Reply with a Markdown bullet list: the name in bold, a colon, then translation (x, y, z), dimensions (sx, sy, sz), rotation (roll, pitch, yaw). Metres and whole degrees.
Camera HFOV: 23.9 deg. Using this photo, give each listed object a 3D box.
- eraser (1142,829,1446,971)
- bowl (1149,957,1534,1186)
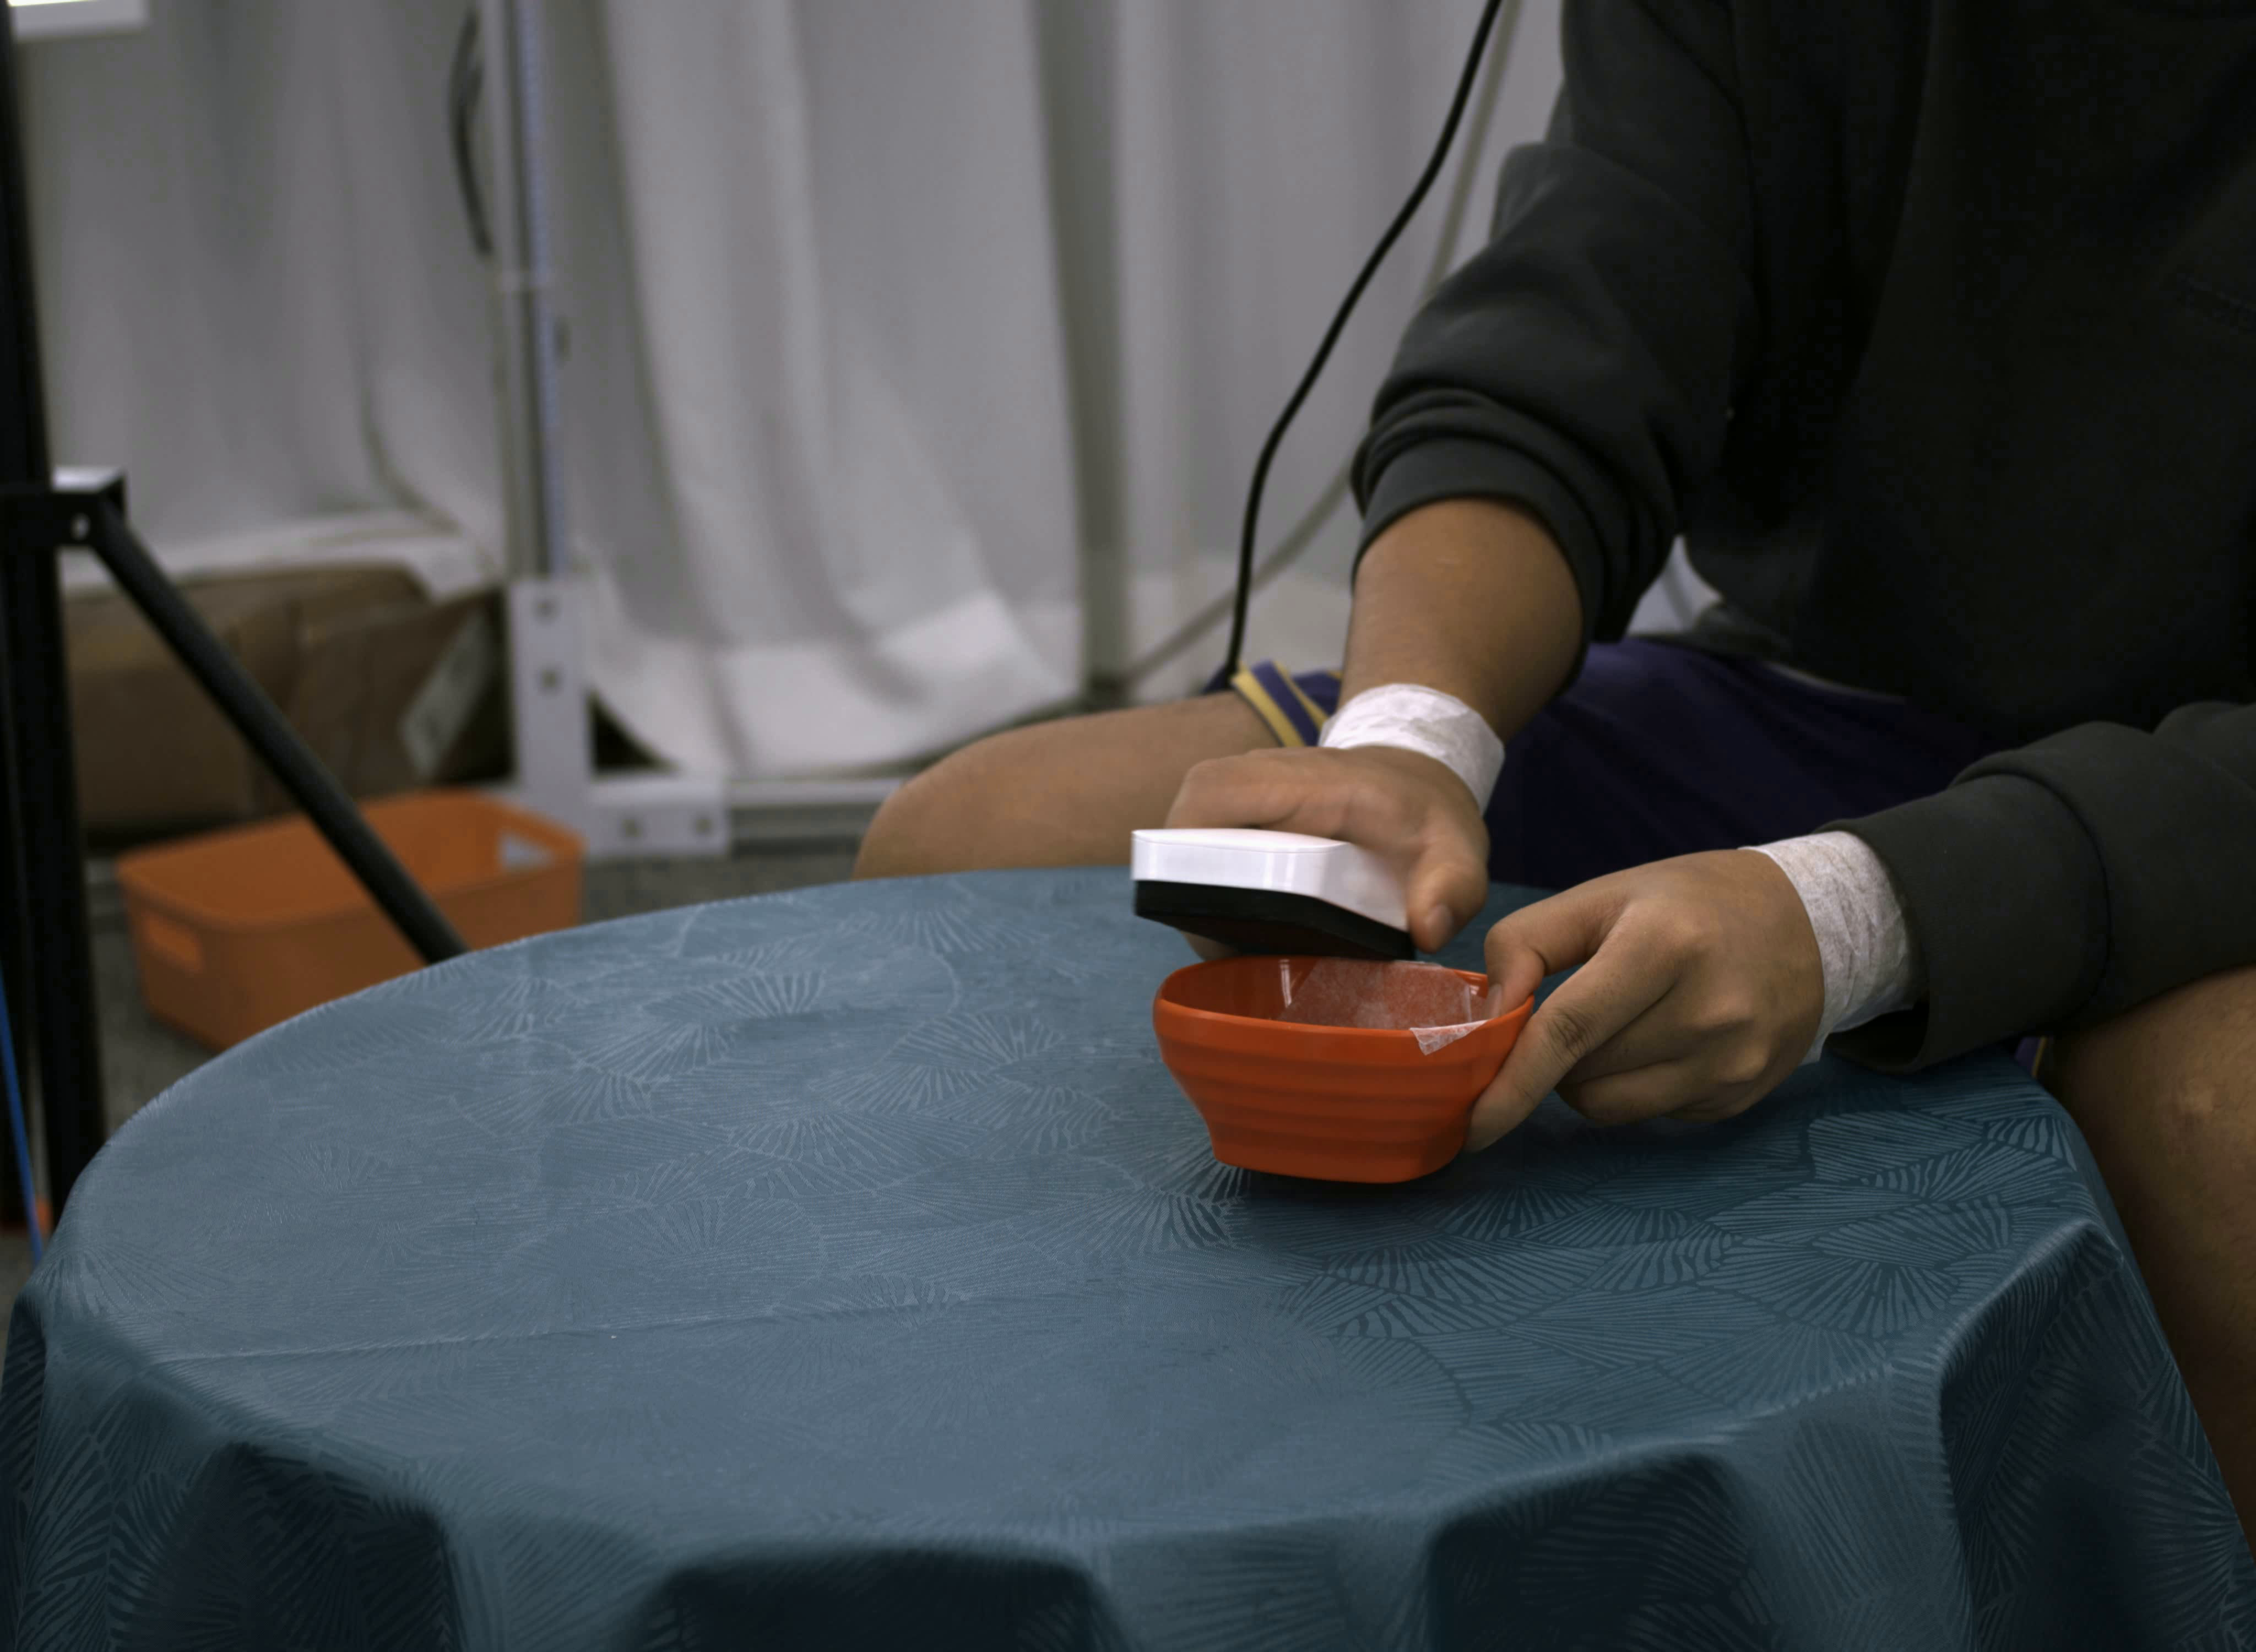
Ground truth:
- **eraser**: translation (0.052, 0.020, 1.592), dimensions (0.064, 0.035, 0.129), rotation (6, -4, 23)
- **bowl**: translation (0.063, 0.073, 1.564), dimensions (0.118, 0.051, 0.119), rotation (2, 8, -2)
